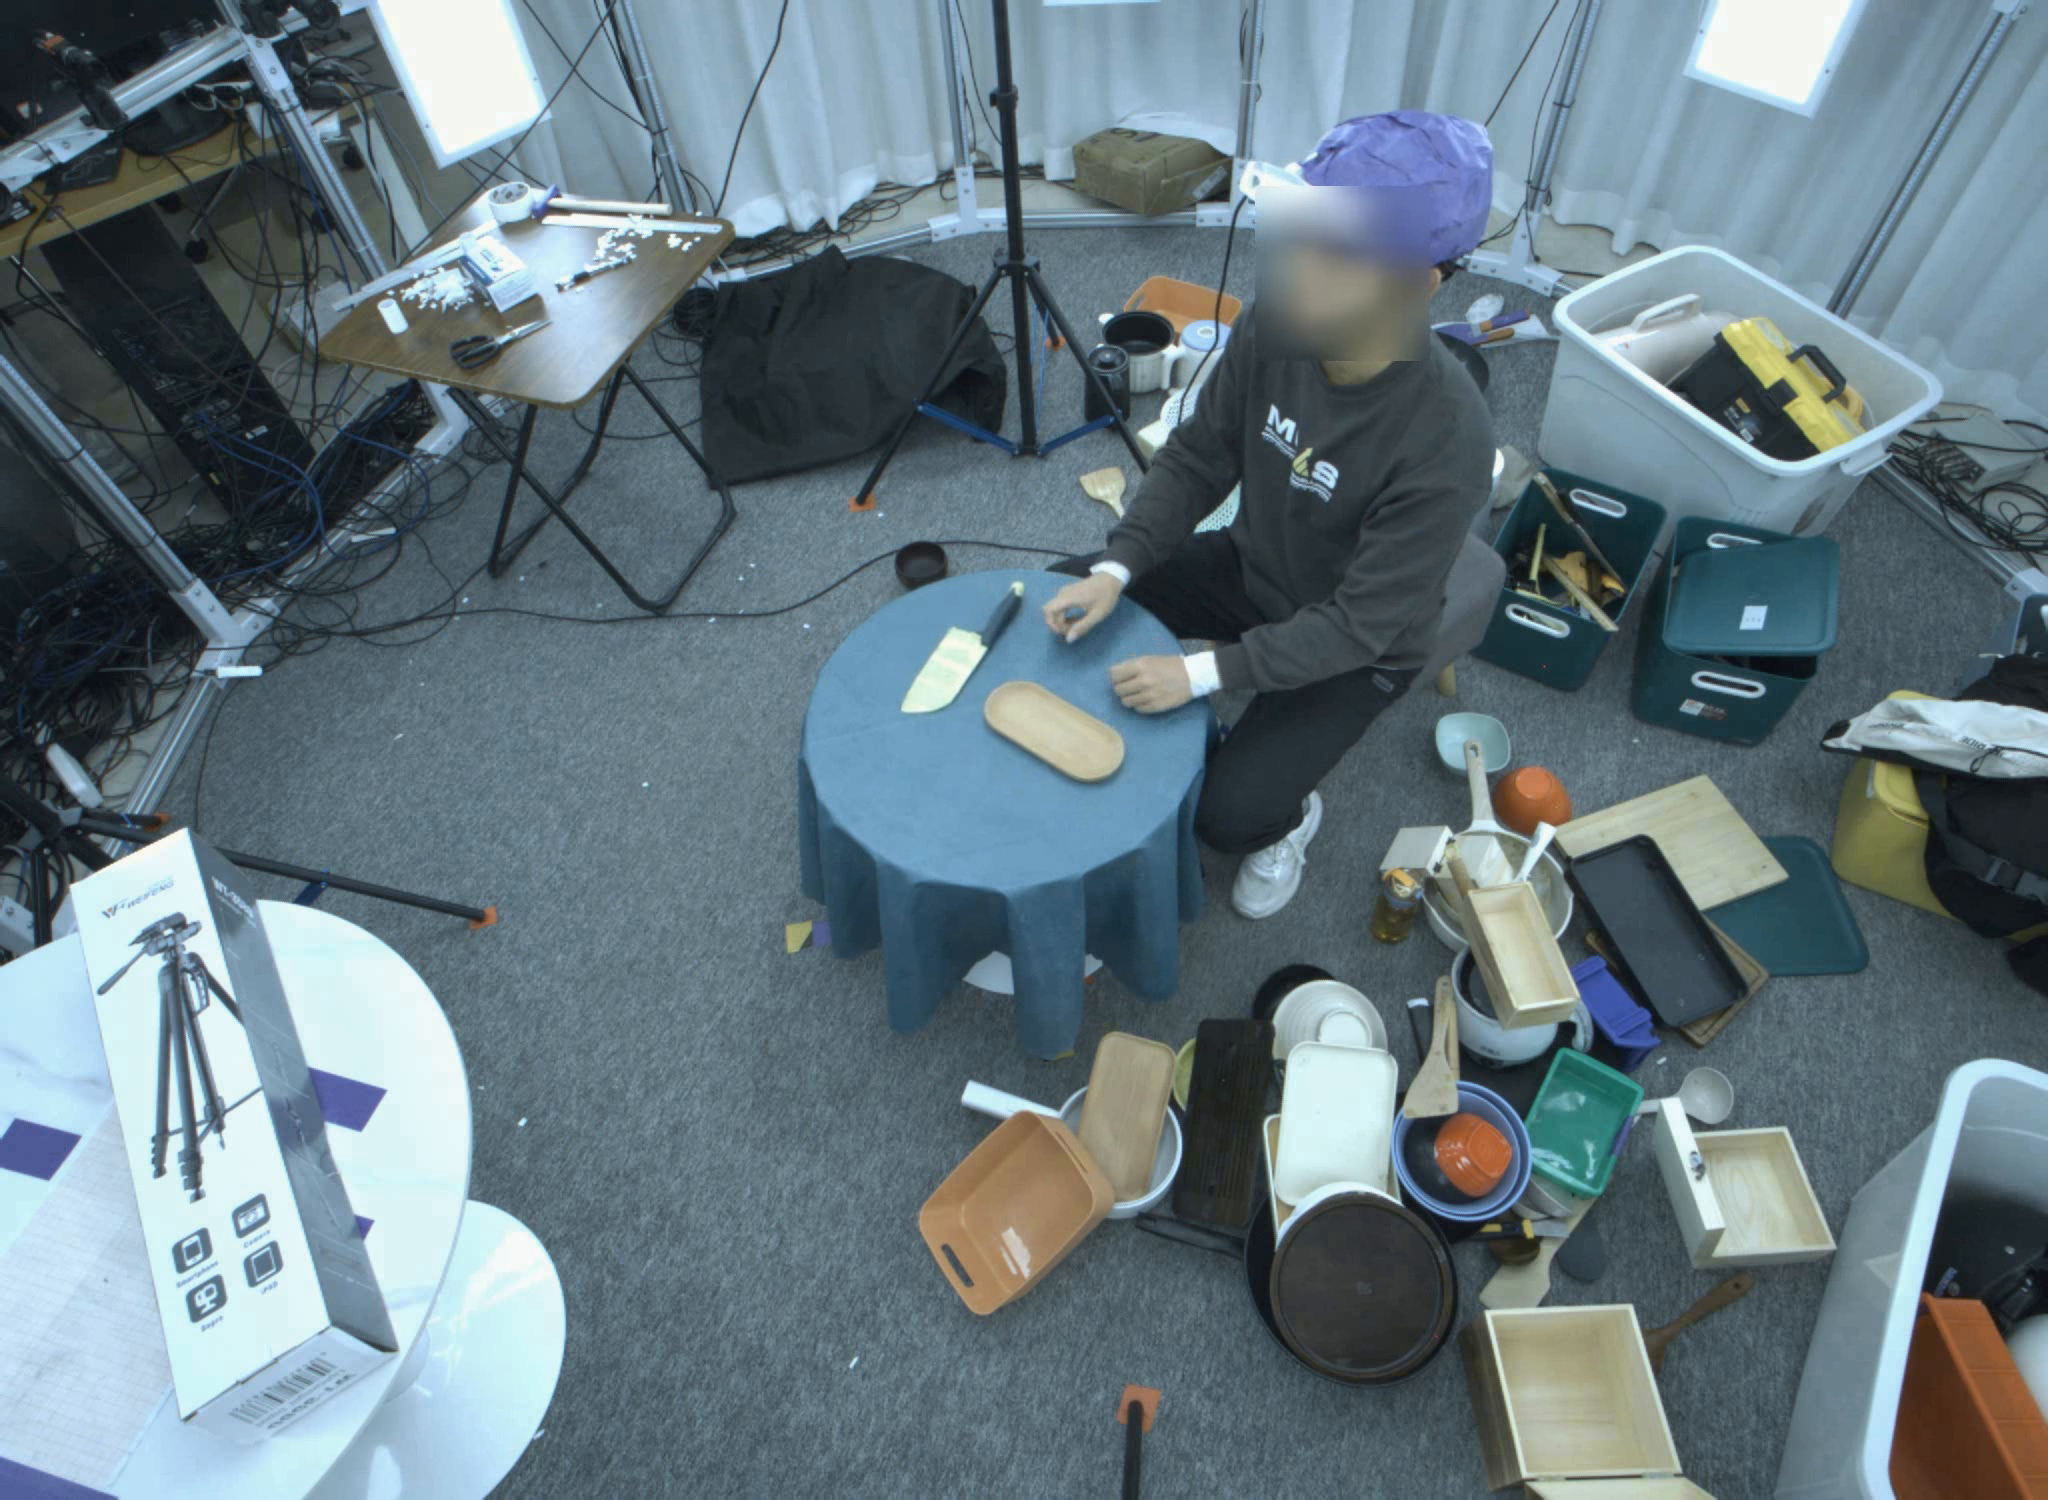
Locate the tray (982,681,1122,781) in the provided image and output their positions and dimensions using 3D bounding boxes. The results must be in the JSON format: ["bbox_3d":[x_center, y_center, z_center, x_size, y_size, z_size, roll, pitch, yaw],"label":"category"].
[{"bbox_3d":[0.040,-0.029,1.805,0.227,0.020,0.102,31,59,23],"label":"tray"}]

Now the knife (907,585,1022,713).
[{"bbox_3d":[-0.091,-0.160,1.903,0.080,0.027,0.290,26,60,17],"label":"knife"}]
